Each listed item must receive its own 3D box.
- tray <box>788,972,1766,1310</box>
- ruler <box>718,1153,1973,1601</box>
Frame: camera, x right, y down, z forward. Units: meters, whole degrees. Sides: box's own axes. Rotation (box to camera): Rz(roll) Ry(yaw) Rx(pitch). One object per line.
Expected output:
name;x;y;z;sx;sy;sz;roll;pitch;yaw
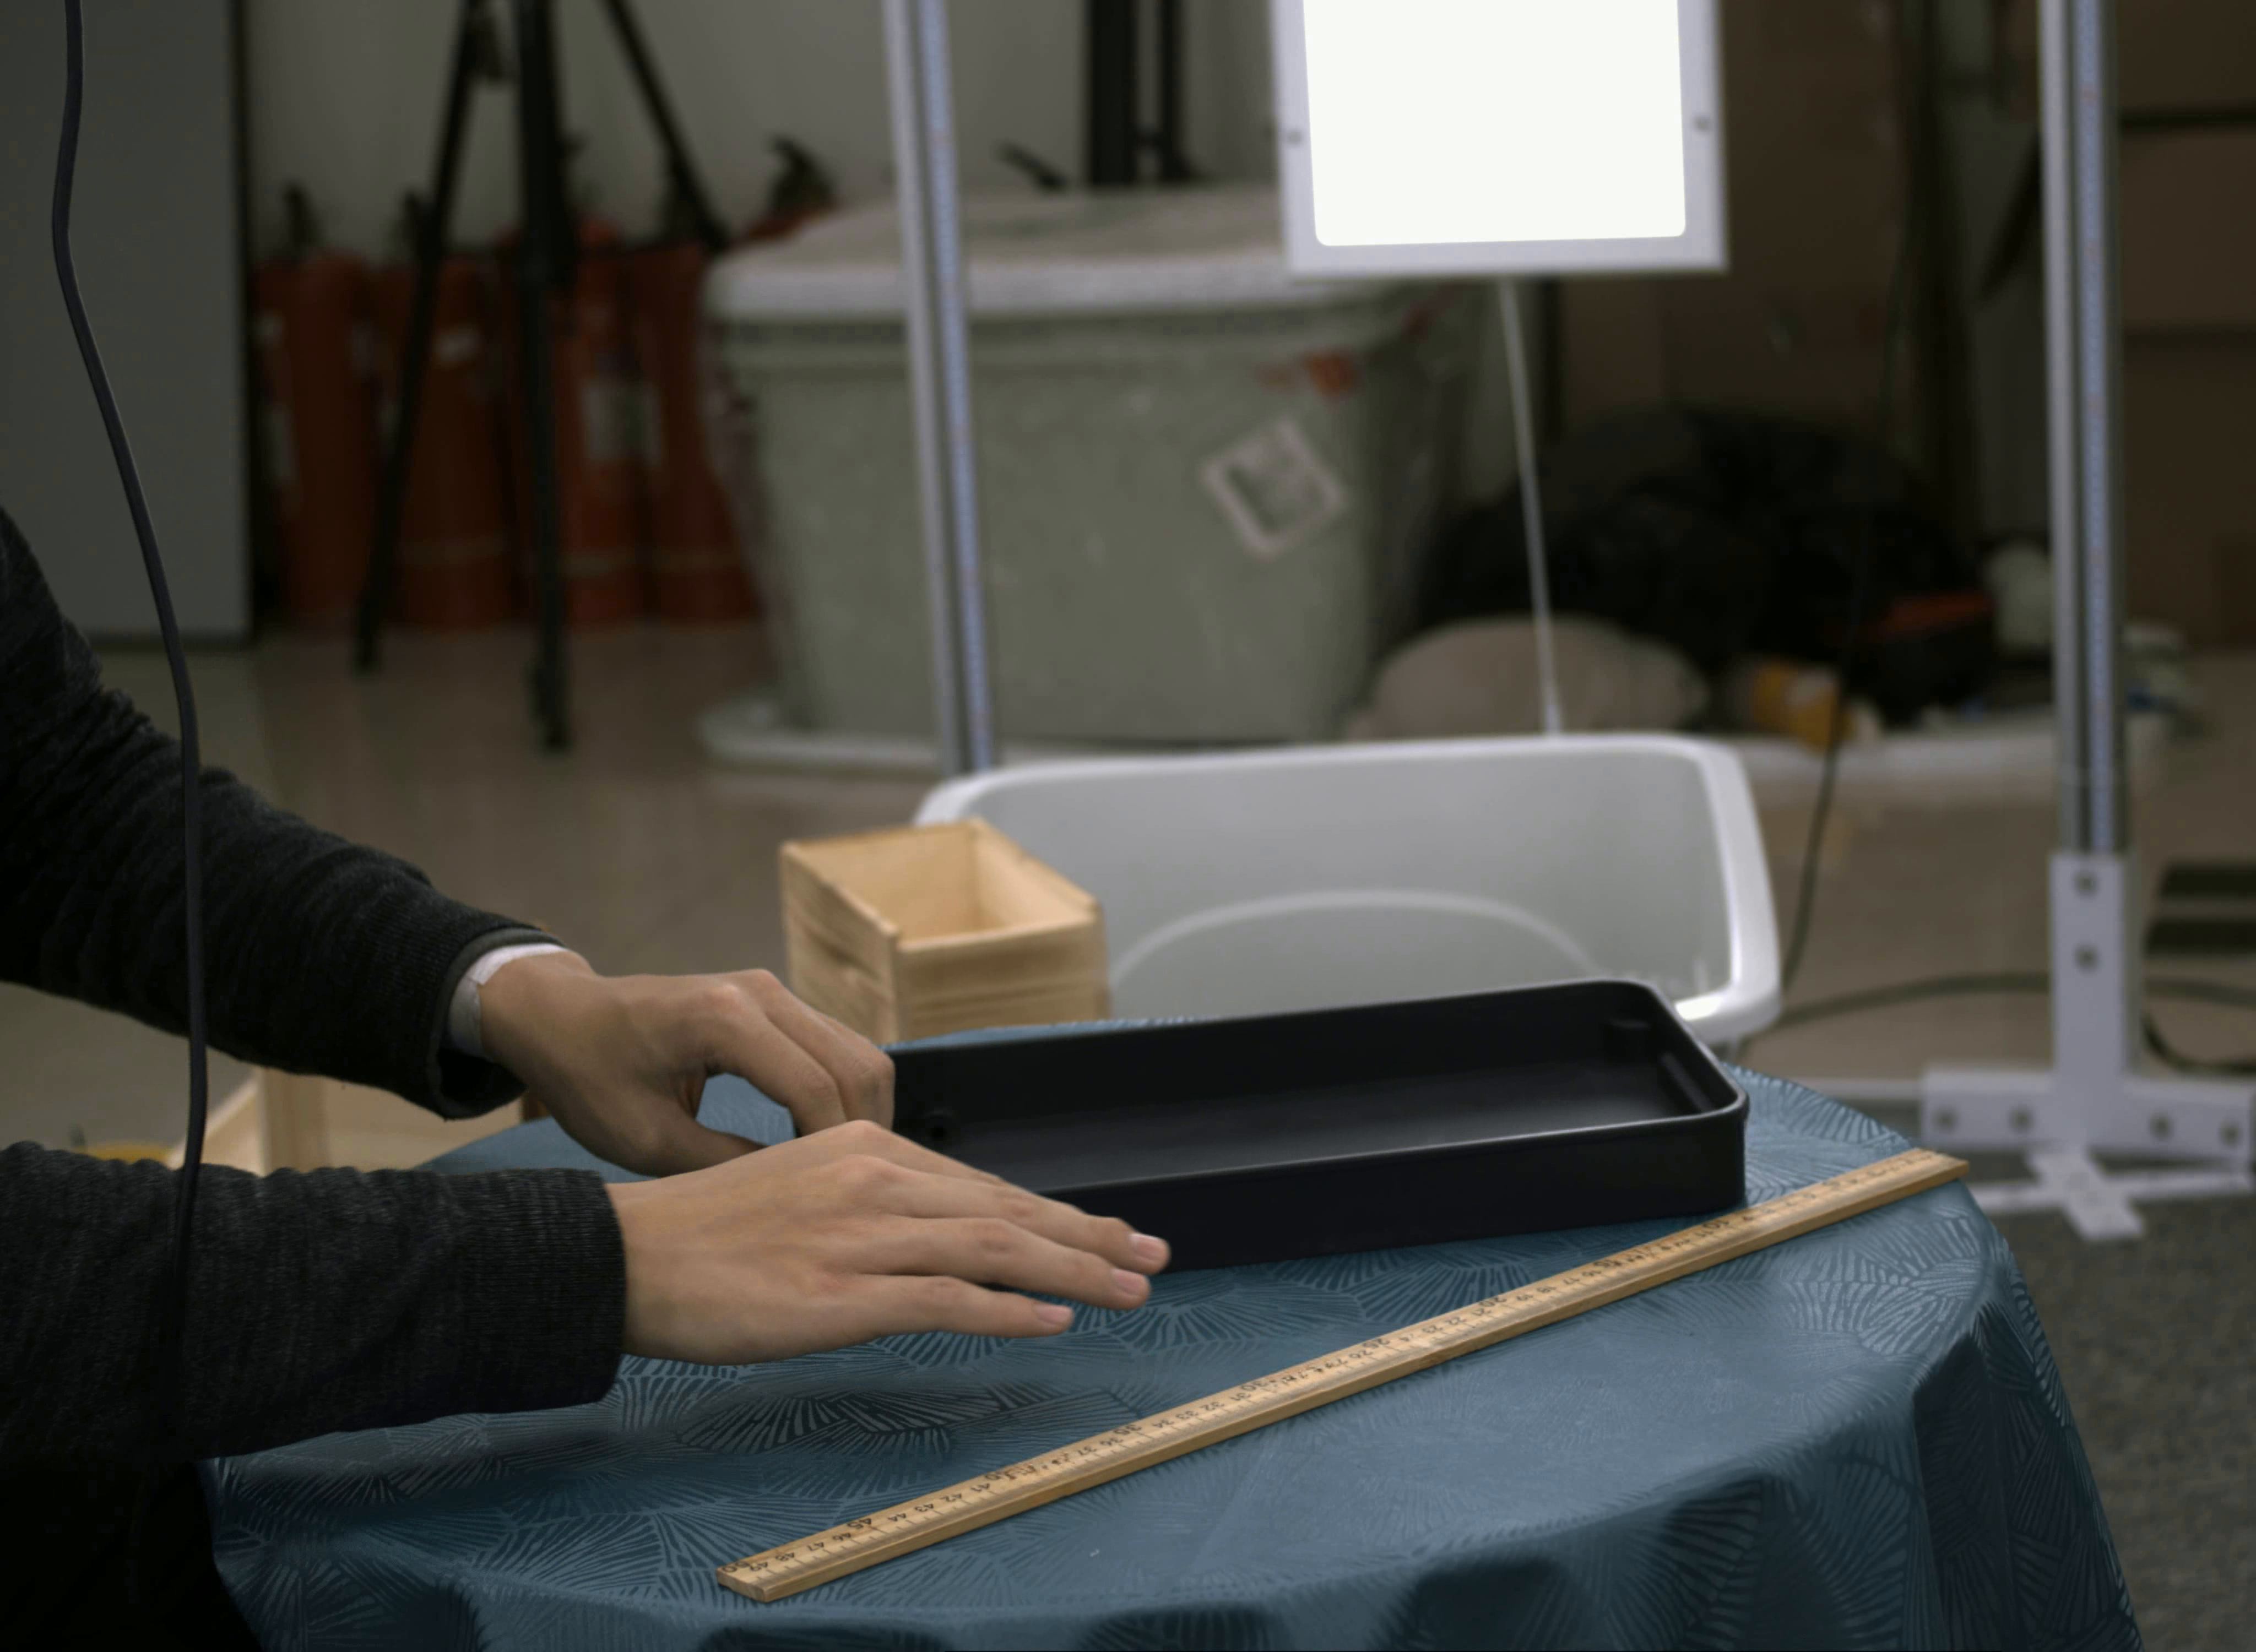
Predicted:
tray;0.048;0.105;1.893;0.315;0.037;0.185;-7;14;-6
ruler;0.083;0.164;1.704;0.488;0.006;0.027;-15;14;-34
